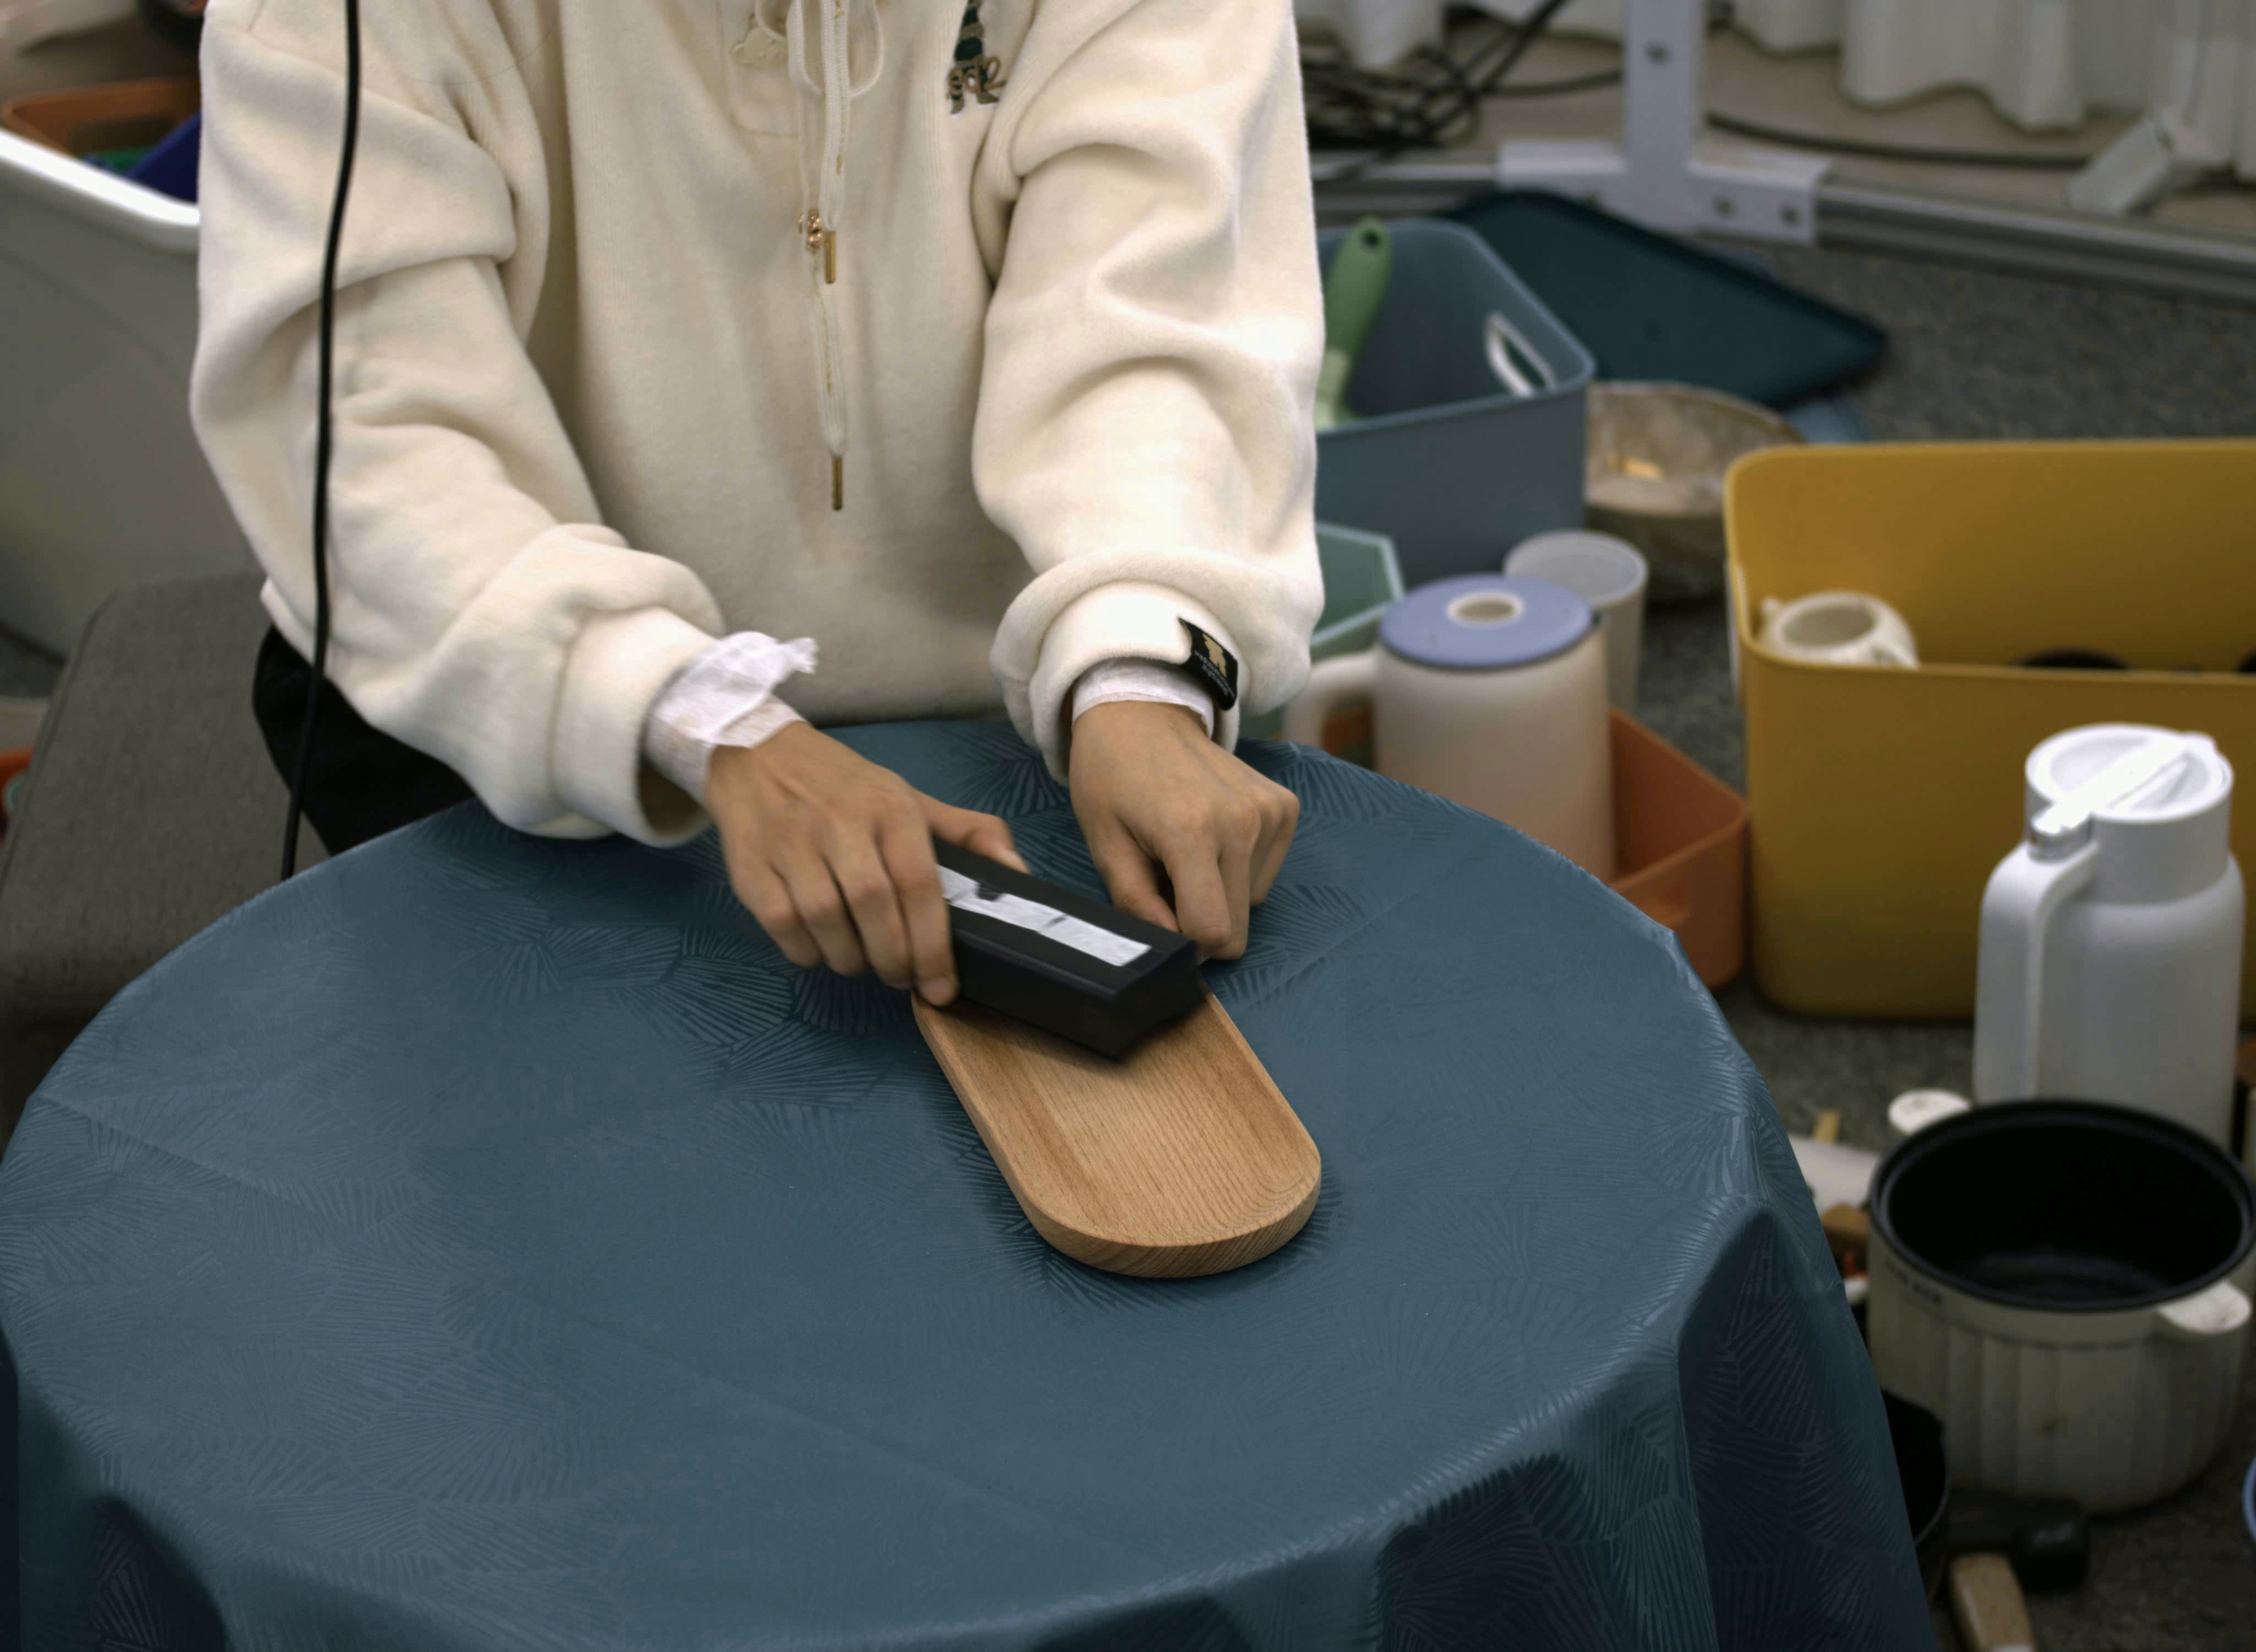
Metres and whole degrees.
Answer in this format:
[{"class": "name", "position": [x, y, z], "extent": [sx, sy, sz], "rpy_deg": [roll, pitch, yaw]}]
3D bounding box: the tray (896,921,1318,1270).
[{"class": "tray", "position": [-0.009, 0.089, 1.907], "extent": [0.102, 0.020, 0.233], "rpy_deg": [-9, 26, -17]}]

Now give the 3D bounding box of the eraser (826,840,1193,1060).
[{"class": "eraser", "position": [-0.042, 0.042, 1.957], "extent": [0.125, 0.030, 0.054], "rpy_deg": [22, 29, 29]}]
